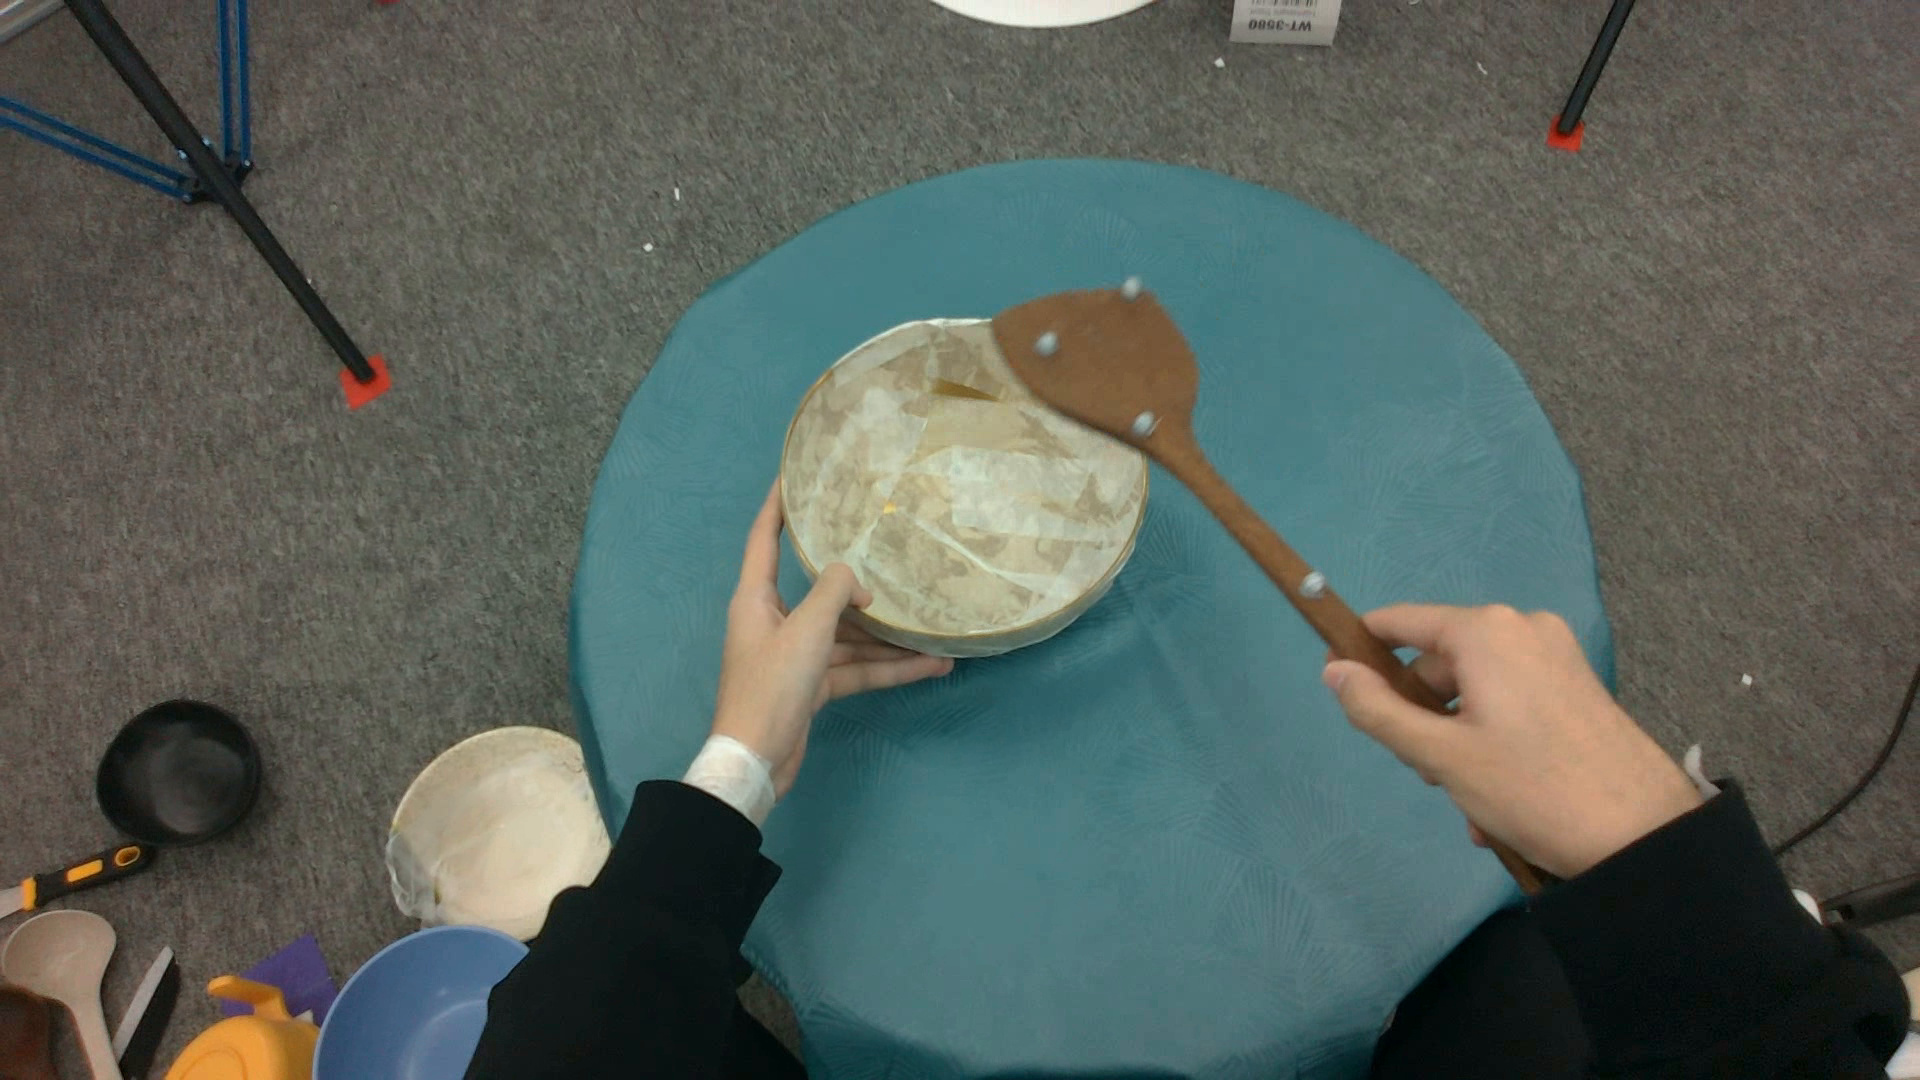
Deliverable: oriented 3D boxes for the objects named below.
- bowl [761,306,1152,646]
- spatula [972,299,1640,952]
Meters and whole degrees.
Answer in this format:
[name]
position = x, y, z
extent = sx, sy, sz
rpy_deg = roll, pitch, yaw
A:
[bowl]
position = -0.004, -0.021, 0.774
extent = 0.215, 0.094, 0.215
rpy_deg = 1, 62, -2
[spatula]
position = 0.128, 0.008, 0.564
extent = 0.096, 0.015, 0.387
rpy_deg = -16, 47, -24
